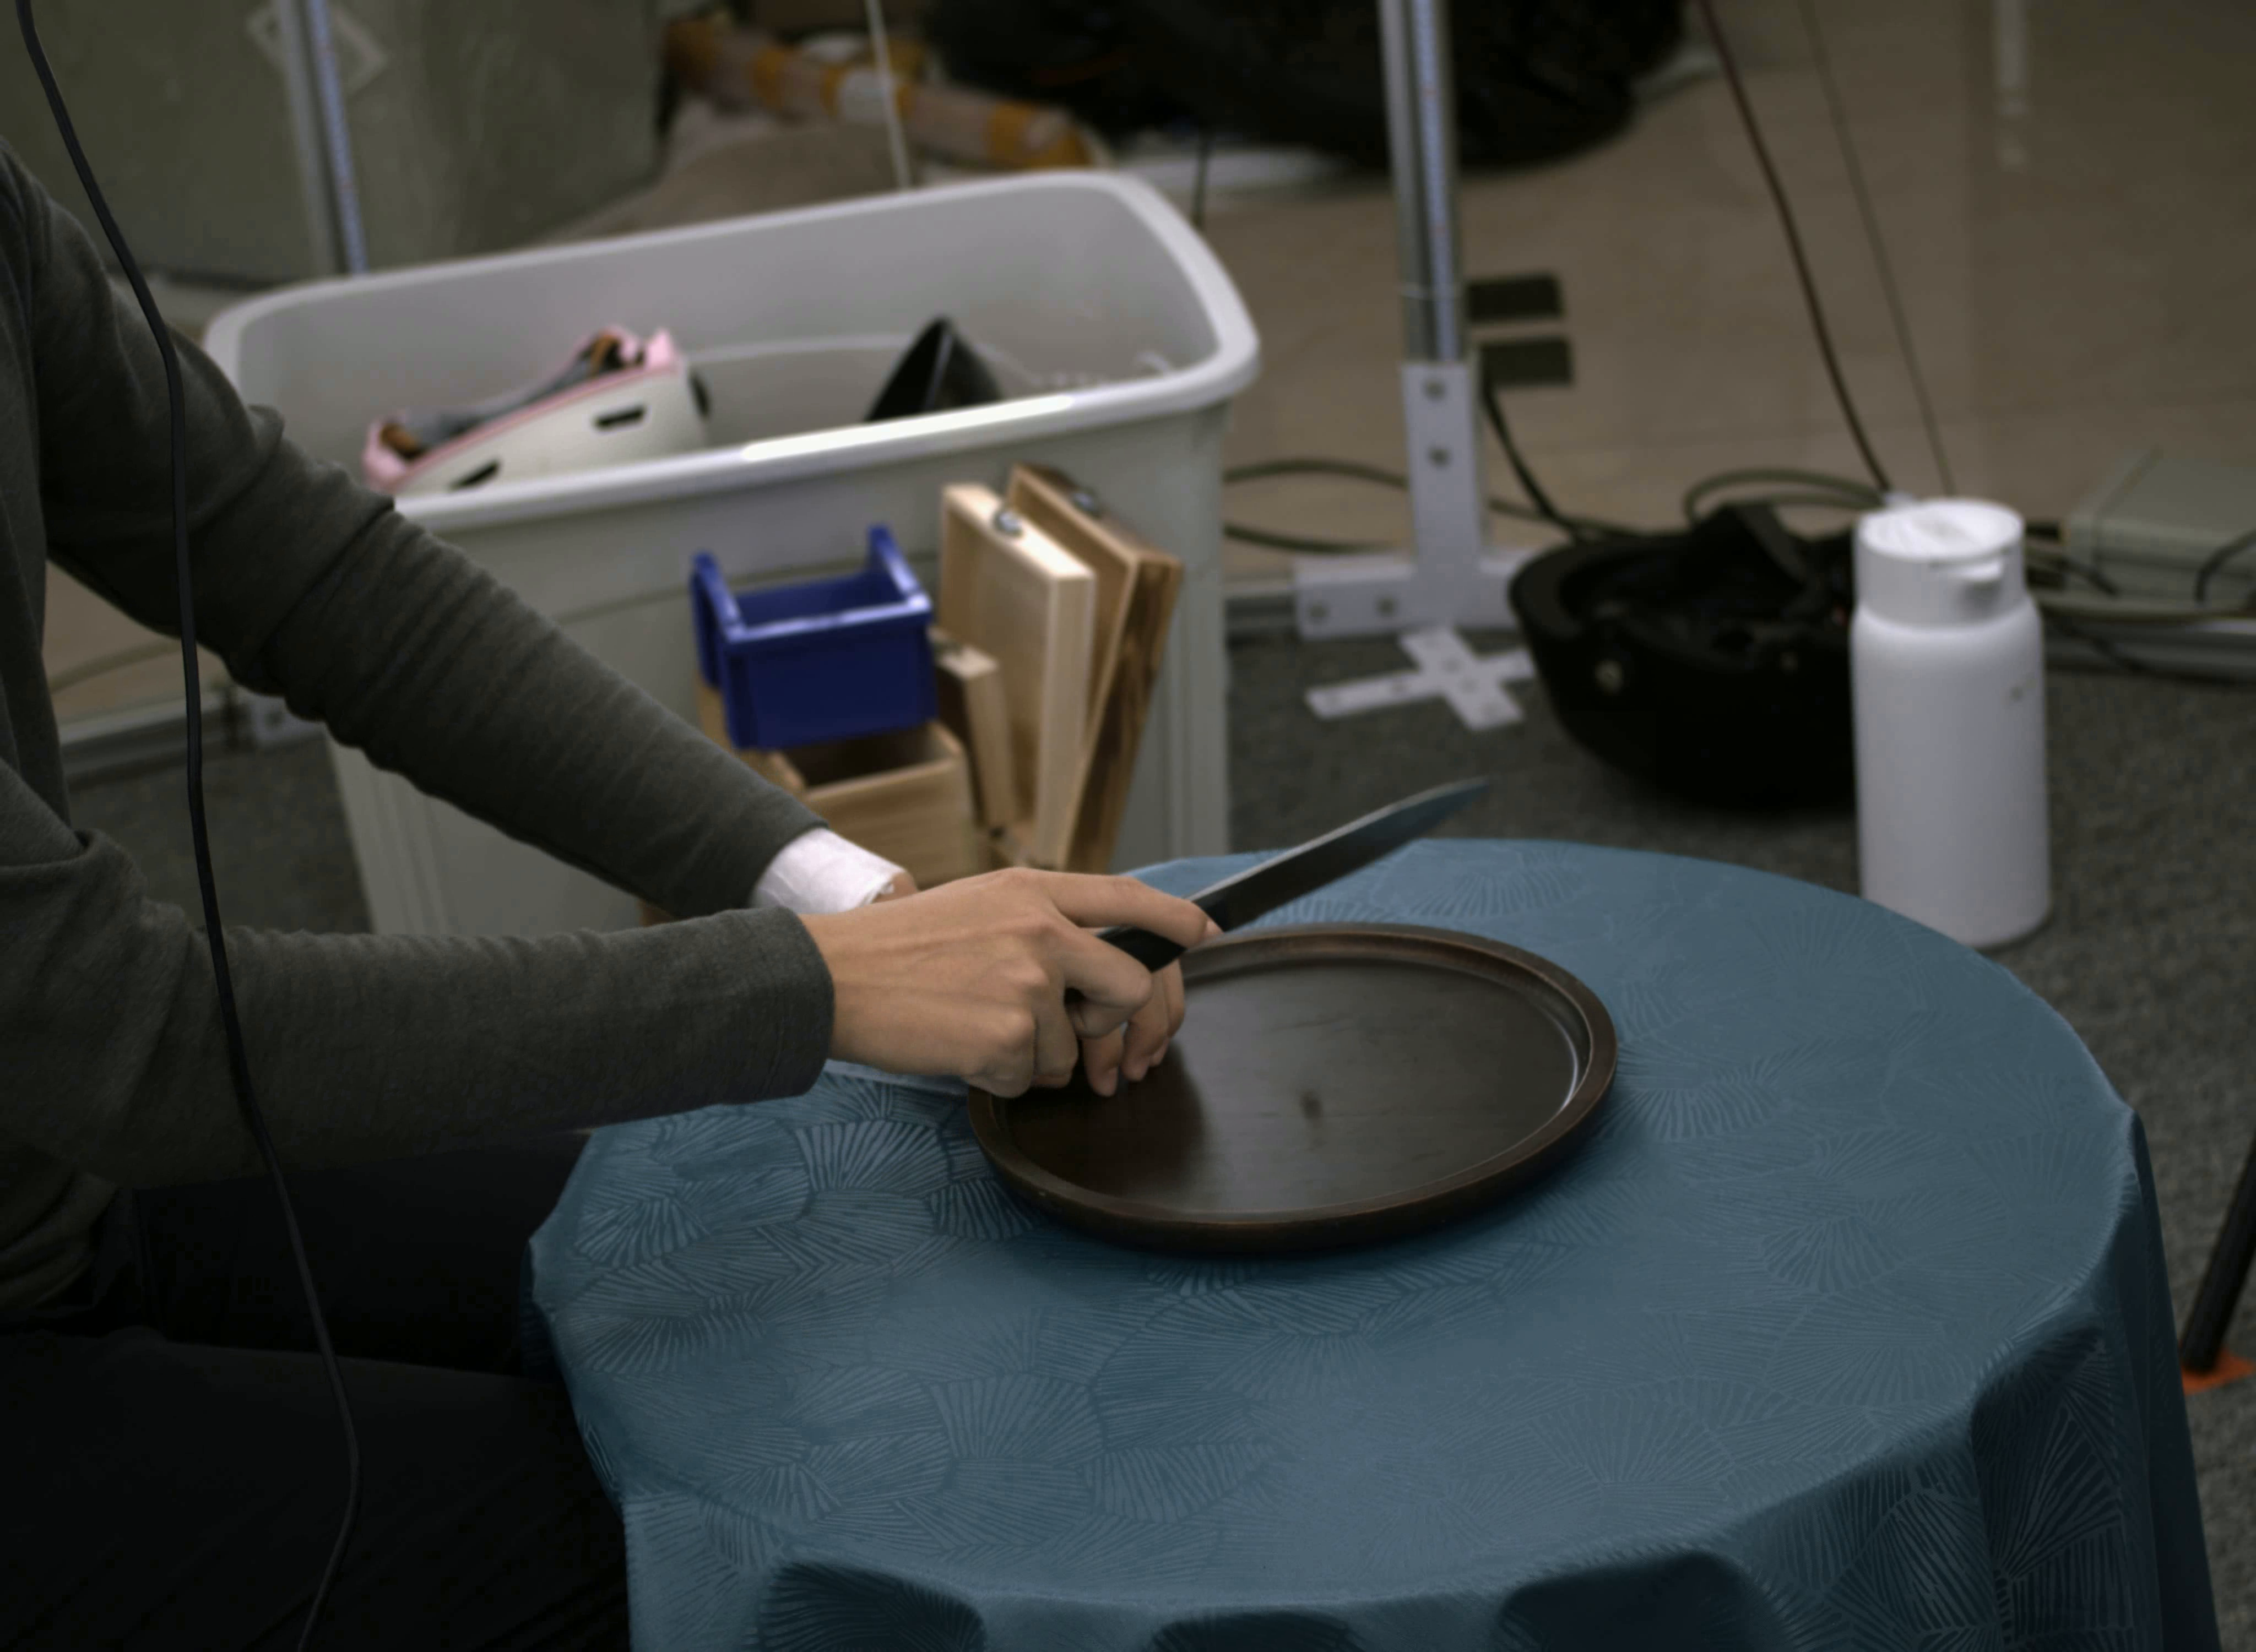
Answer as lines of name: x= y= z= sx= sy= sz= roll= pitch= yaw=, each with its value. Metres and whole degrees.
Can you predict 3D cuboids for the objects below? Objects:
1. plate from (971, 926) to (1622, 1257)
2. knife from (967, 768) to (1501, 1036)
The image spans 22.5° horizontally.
plate: x=0.065 y=0.101 z=2.191 sx=0.254 sy=0.029 sz=0.251 roll=-4 pitch=24 yaw=2
knife: x=0.042 y=0.023 z=2.158 sx=0.237 sy=0.025 sz=0.016 roll=-25 pitch=33 yaw=-18
